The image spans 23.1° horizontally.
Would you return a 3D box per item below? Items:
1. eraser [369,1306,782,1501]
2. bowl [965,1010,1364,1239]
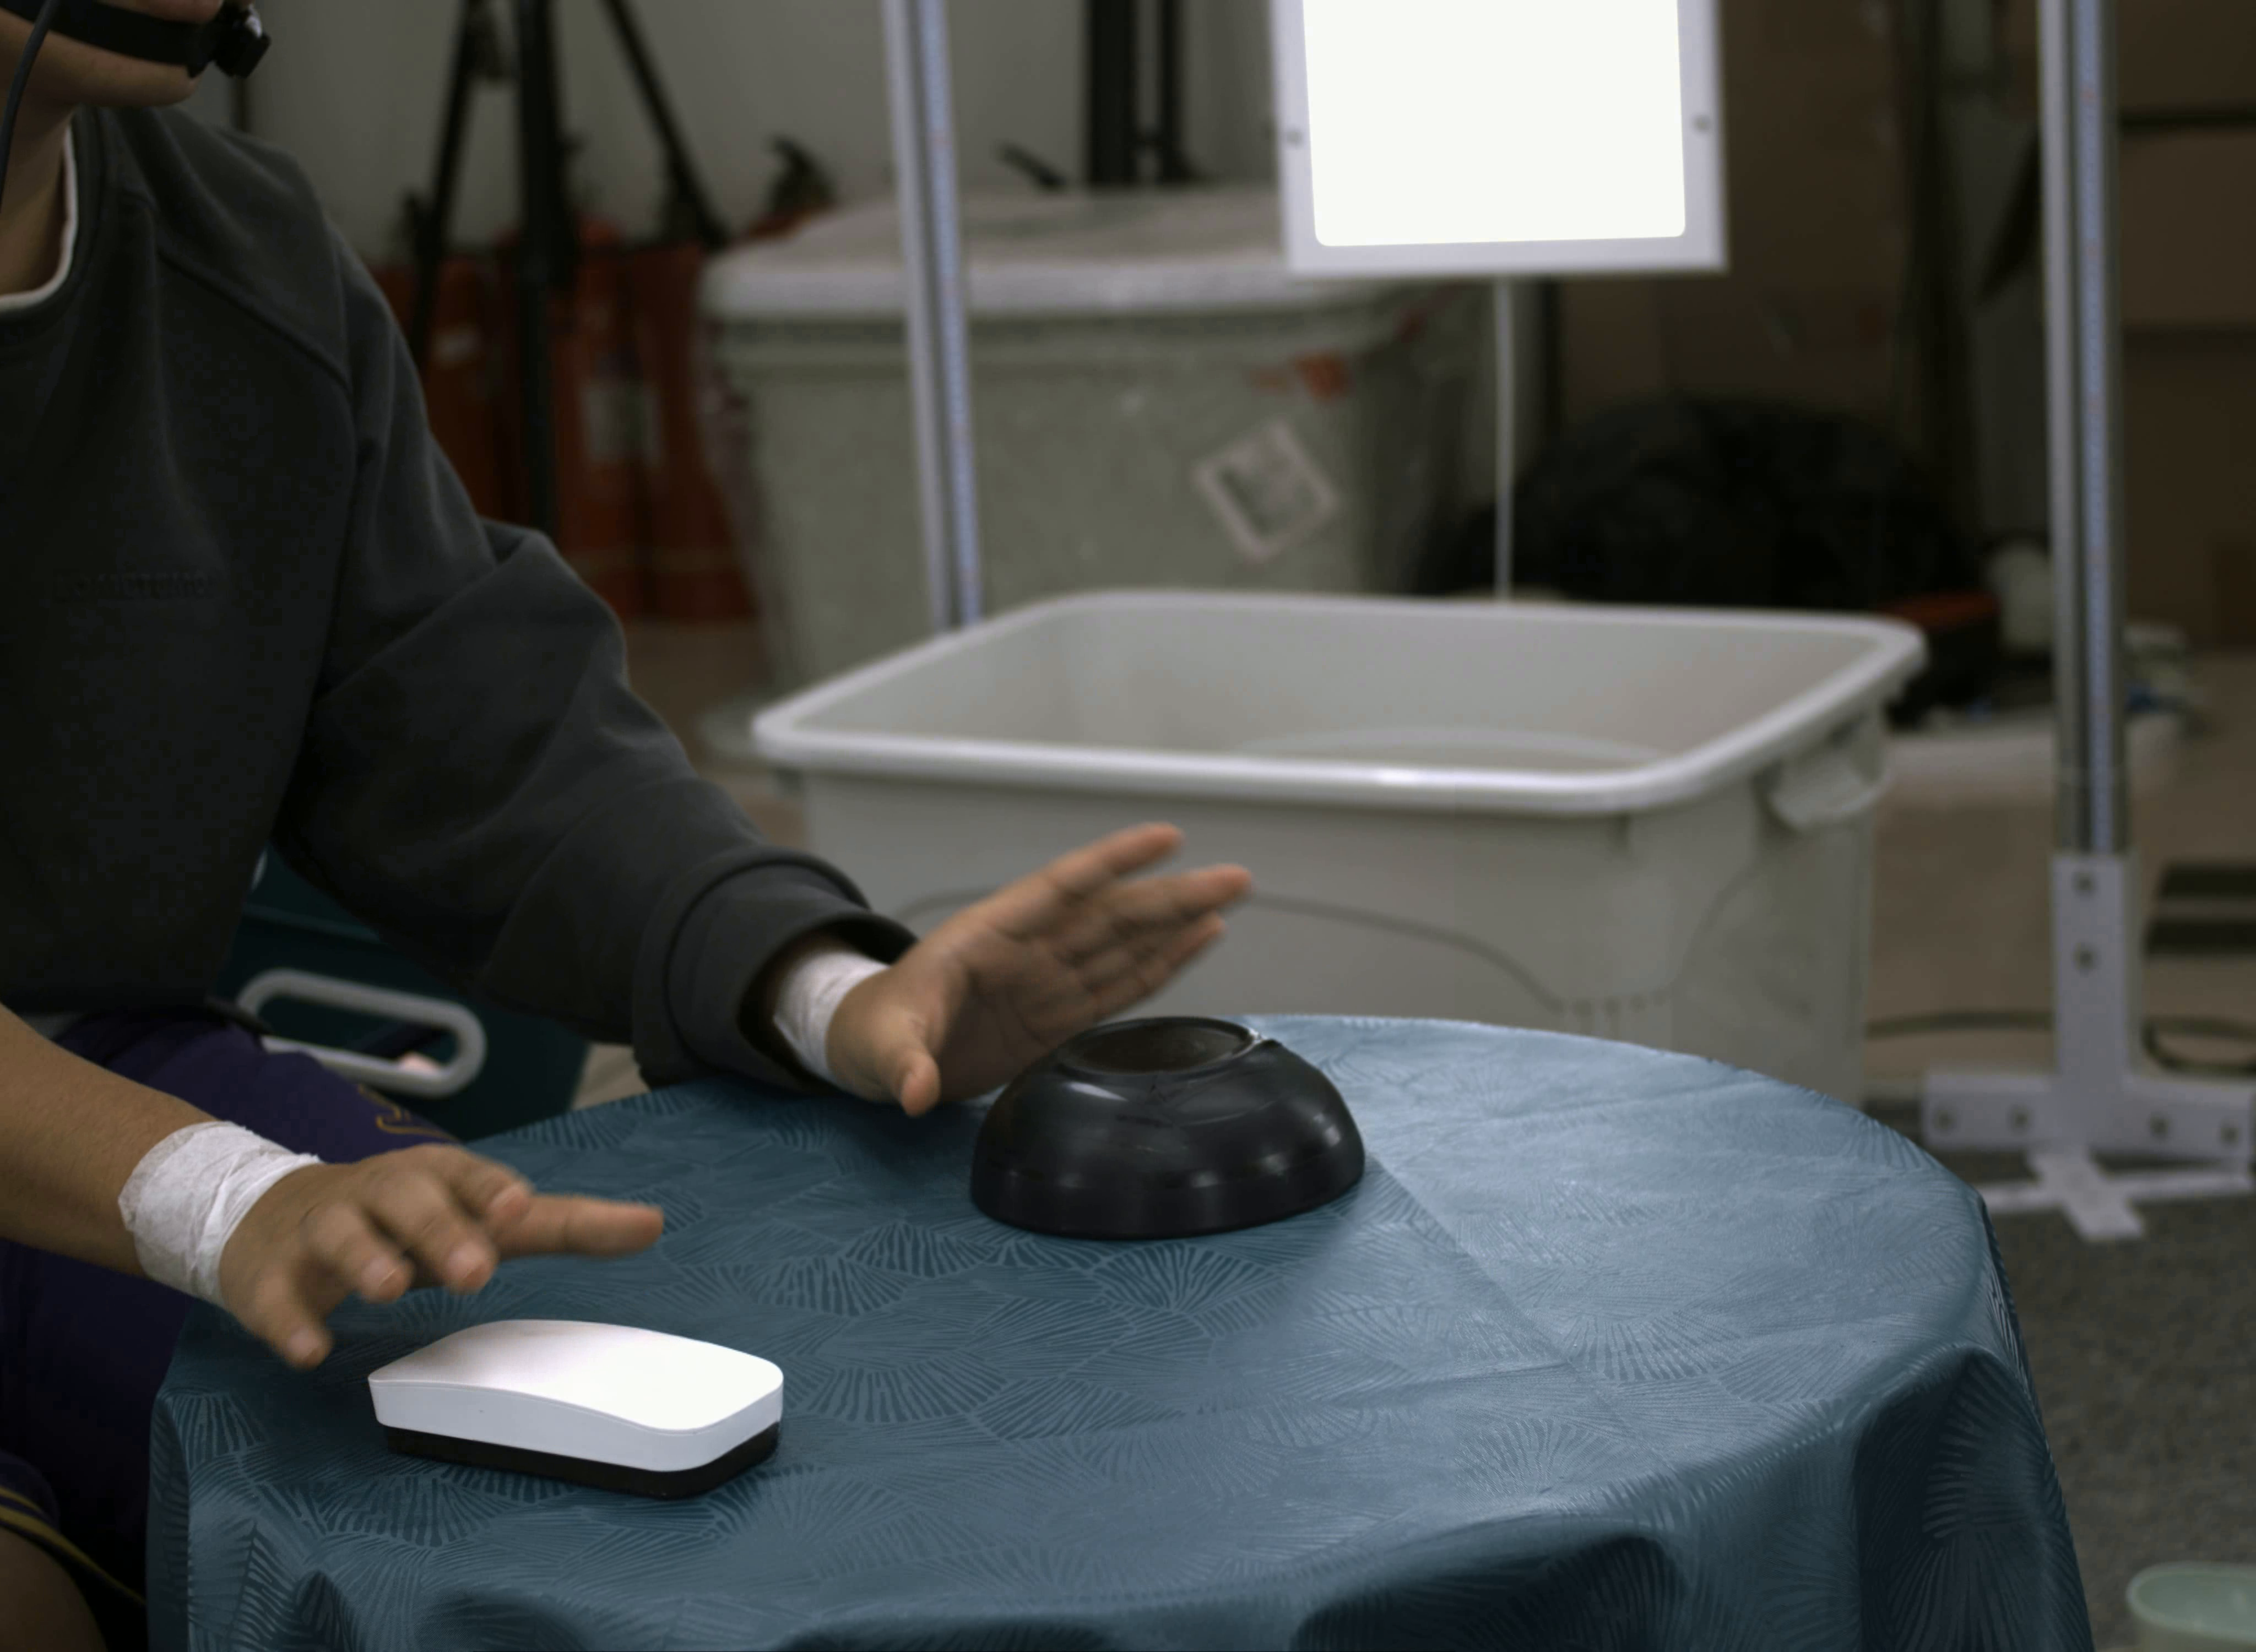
[{"bbox_3d":[-0.169,0.175,1.693,0.134,0.034,0.062,7,17,36],"label":"eraser"},{"bbox_3d":[0.011,0.097,1.903,0.139,0.050,0.140,-5,15,0],"label":"bowl"}]
